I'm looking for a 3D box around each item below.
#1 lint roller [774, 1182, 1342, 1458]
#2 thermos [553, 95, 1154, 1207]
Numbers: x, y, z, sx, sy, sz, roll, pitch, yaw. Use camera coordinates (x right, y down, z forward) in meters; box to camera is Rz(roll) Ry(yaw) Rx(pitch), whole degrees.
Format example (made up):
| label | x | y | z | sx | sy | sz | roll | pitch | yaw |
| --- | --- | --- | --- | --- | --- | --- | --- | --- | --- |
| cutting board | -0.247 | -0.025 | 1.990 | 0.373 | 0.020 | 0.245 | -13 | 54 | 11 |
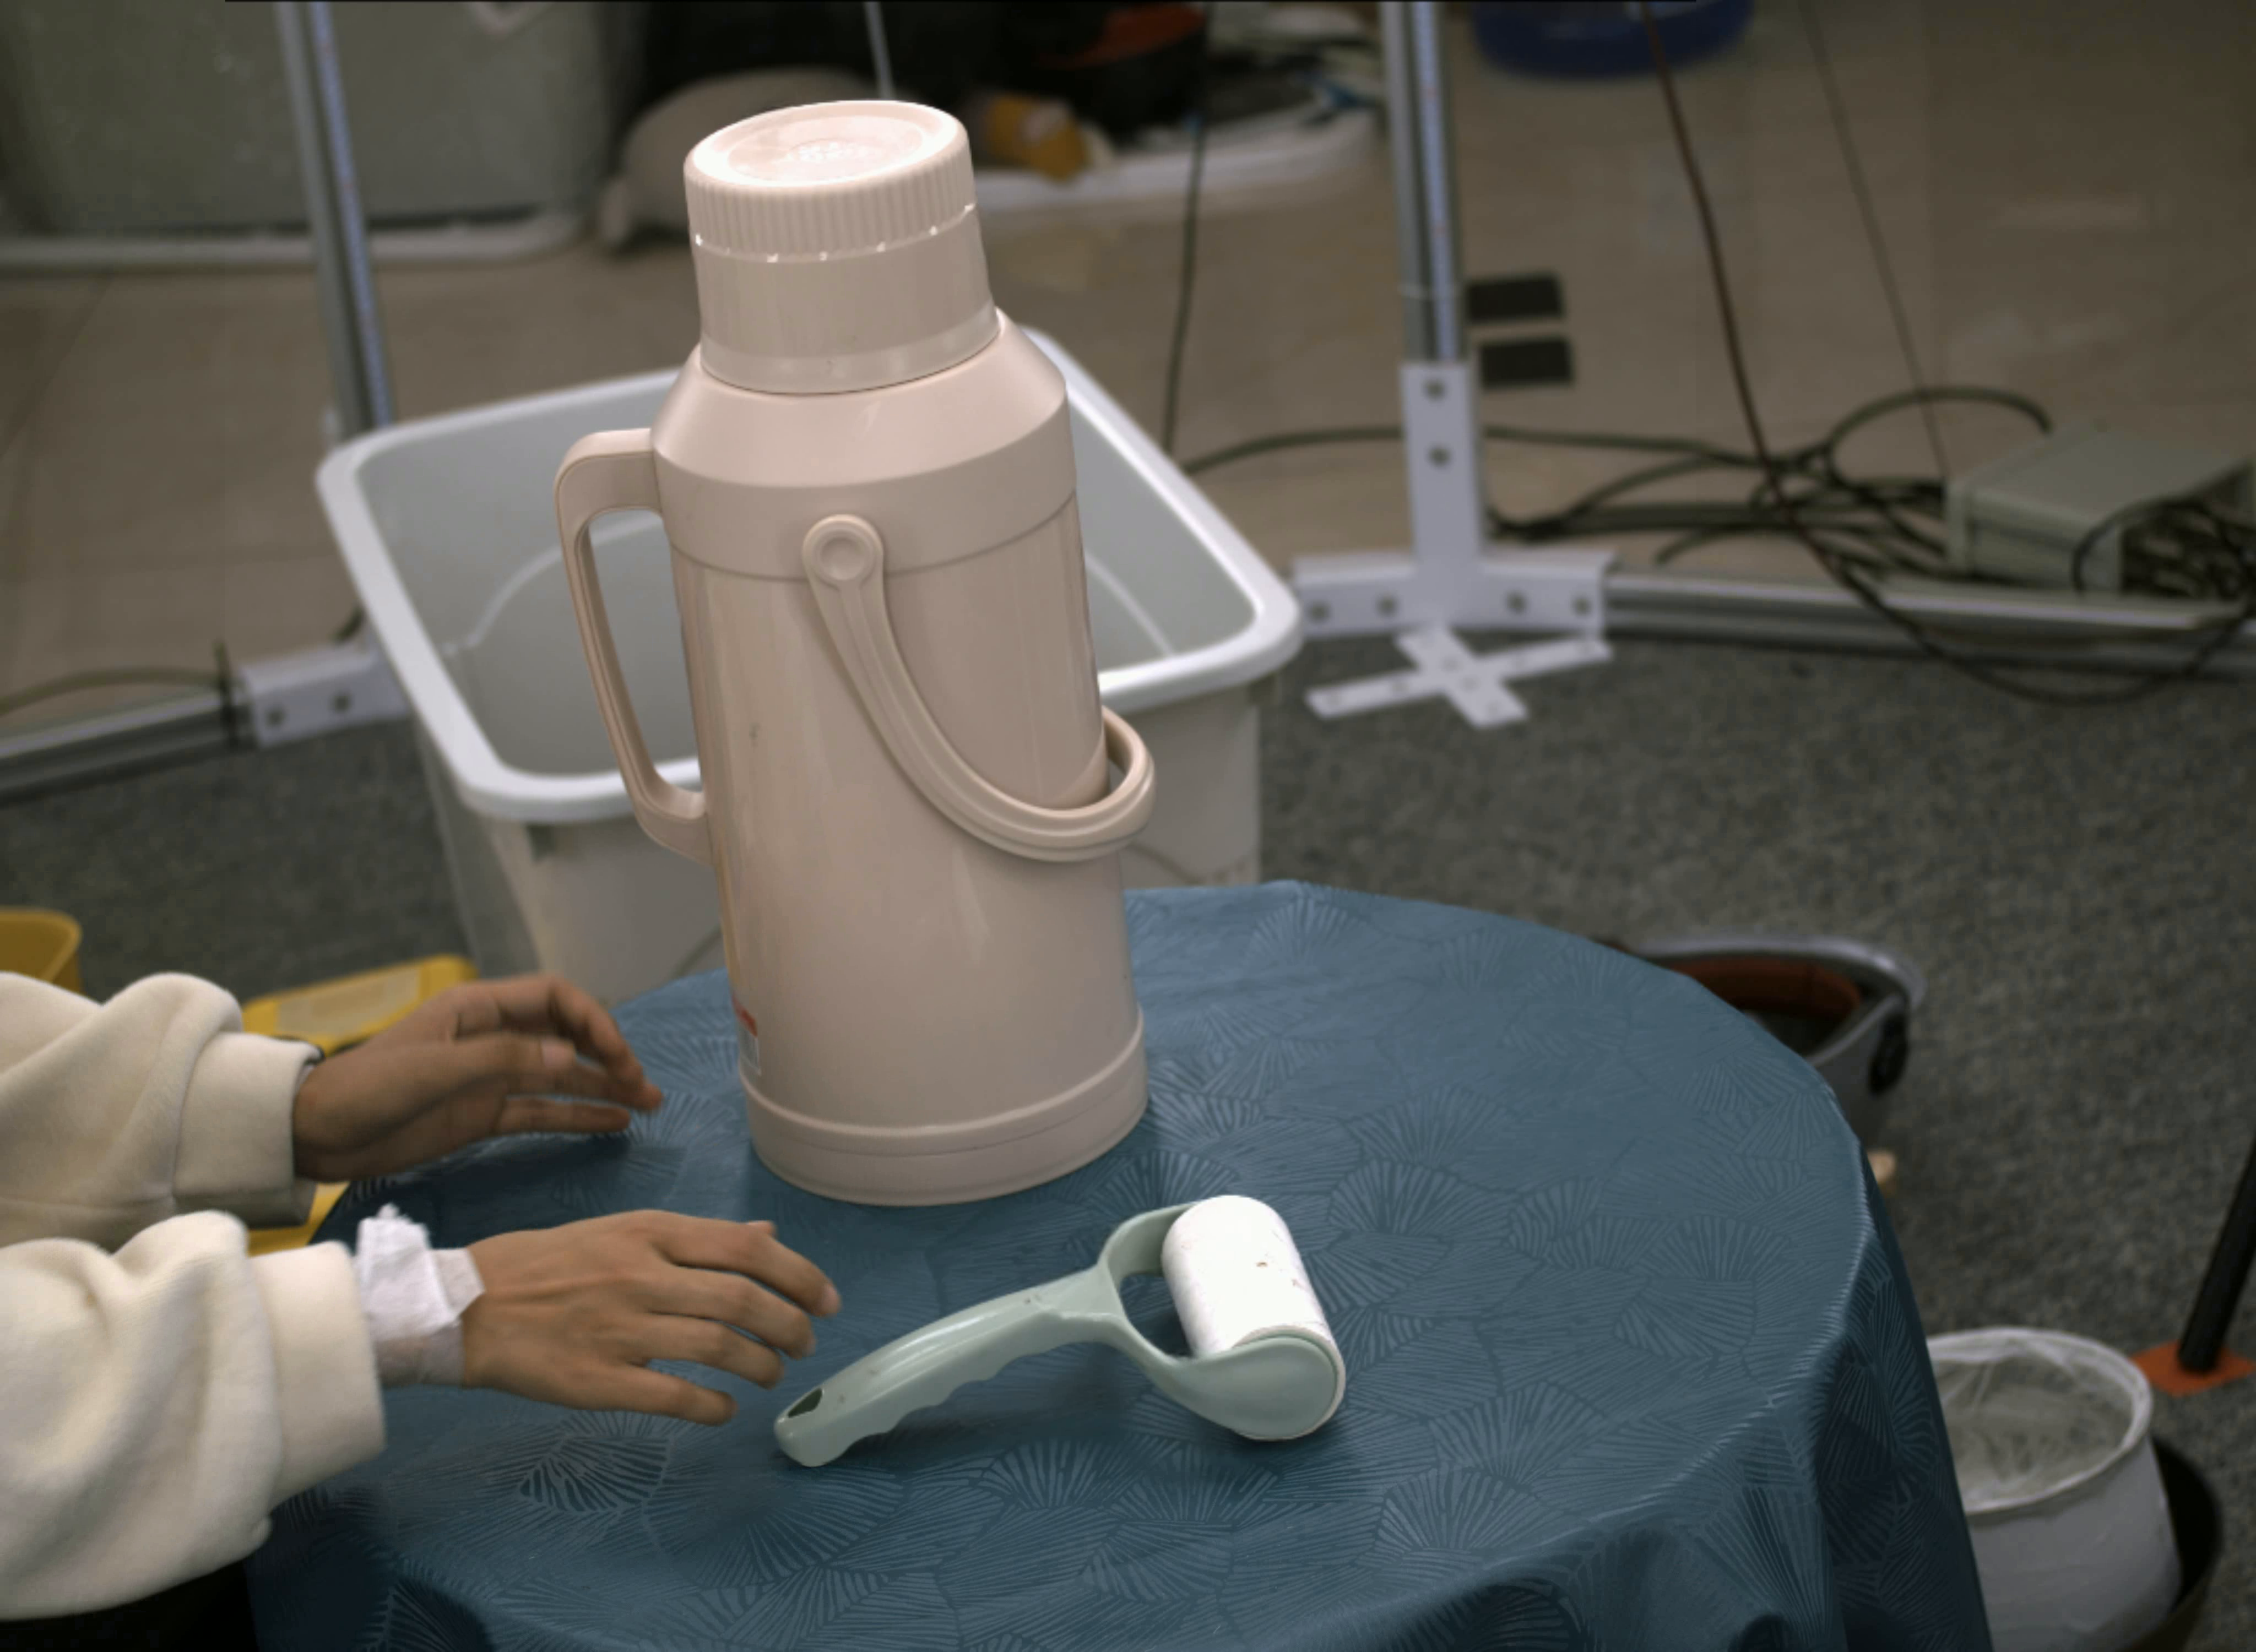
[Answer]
| label | x | y | z | sx | sy | sz | roll | pitch | yaw |
| --- | --- | --- | --- | --- | --- | --- | --- | --- | --- |
| lint roller | -0.030 | 0.182 | 2.007 | 0.197 | 0.049 | 0.115 | -9 | 27 | -6 |
| thermos | -0.103 | -0.066 | 2.137 | 0.207 | 0.413 | 0.172 | -4 | 26 | 5 |
